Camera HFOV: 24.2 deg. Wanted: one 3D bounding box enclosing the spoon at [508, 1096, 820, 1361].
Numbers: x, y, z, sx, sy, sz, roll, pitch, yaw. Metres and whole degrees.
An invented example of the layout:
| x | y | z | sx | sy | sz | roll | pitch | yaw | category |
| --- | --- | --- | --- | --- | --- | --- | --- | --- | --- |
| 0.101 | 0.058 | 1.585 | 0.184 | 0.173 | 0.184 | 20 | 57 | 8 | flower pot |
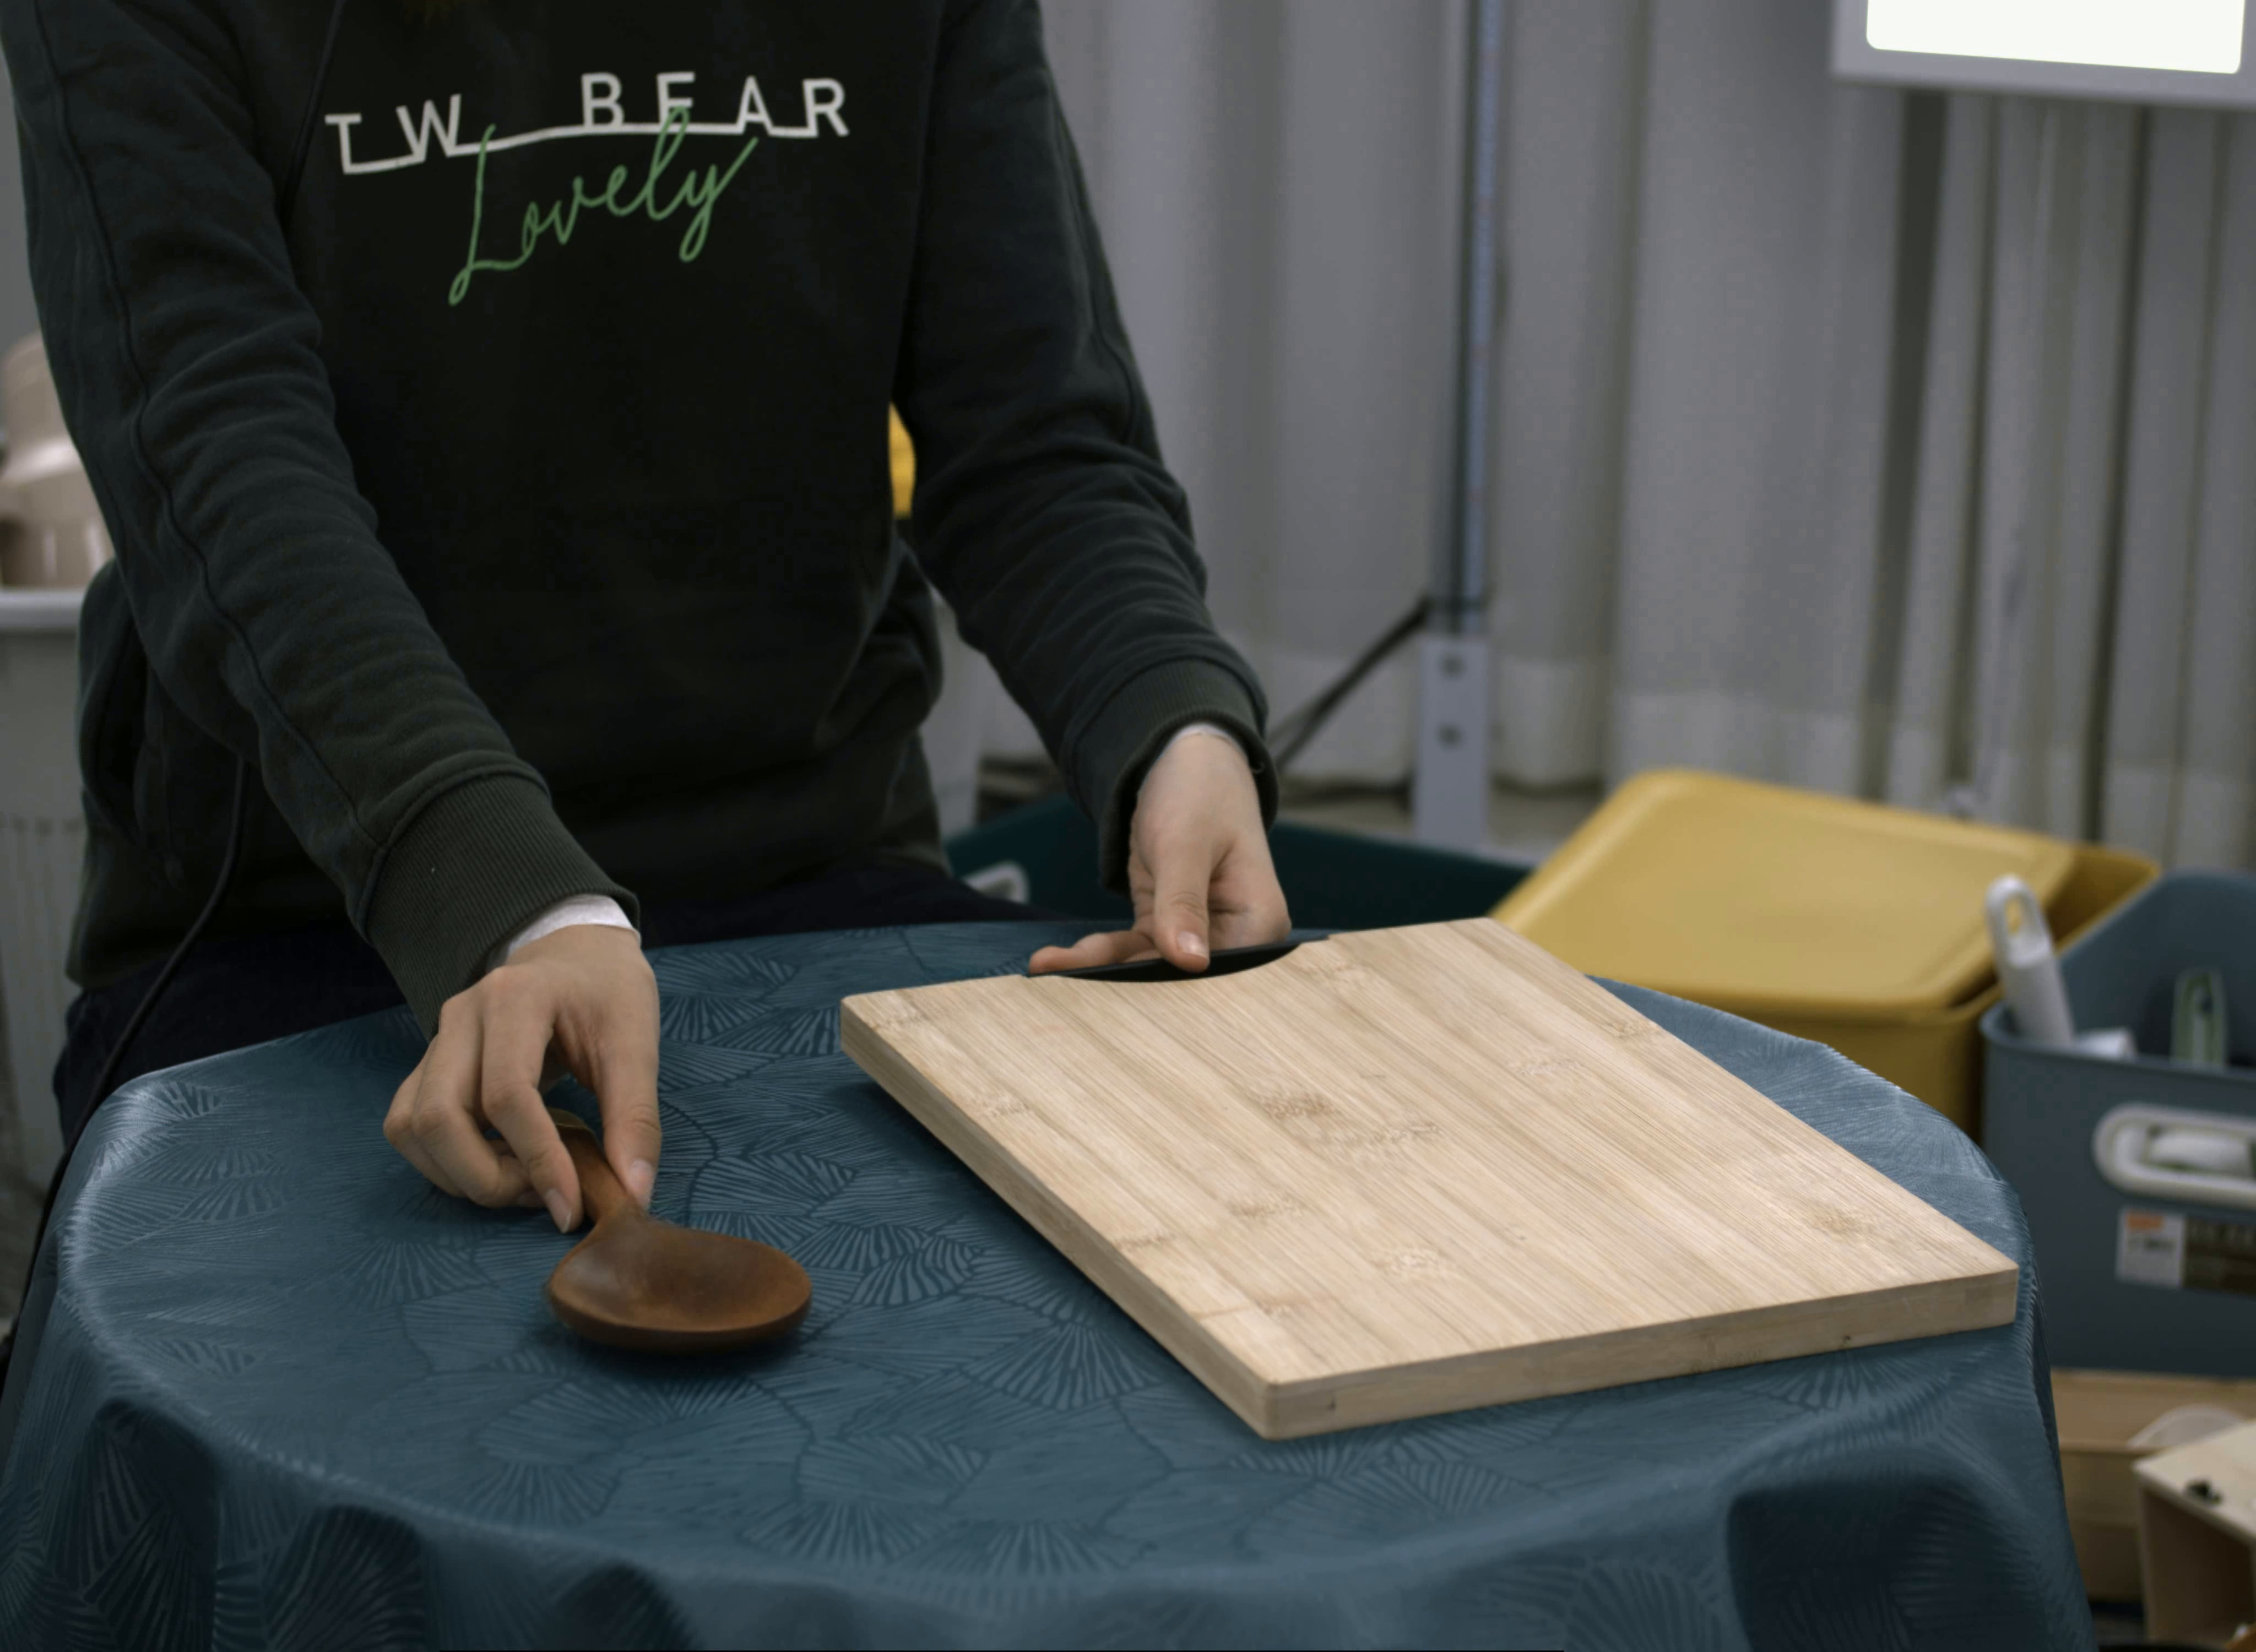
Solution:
| x | y | z | sx | sy | sz | roll | pitch | yaw | category |
| --- | --- | --- | --- | --- | --- | --- | --- | --- | --- |
| -0.148 | 0.120 | 1.562 | 0.075 | 0.017 | 0.213 | -7 | 18 | -19 | spoon |

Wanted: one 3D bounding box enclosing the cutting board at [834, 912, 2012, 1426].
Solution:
| x | y | z | sx | sy | sz | roll | pitch | yaw | category |
| --- | --- | --- | --- | --- | --- | --- | --- | --- | --- |
| 0.079 | 0.099 | 1.627 | 0.251 | 0.024 | 0.344 | -6 | 19 | -24 | cutting board |
